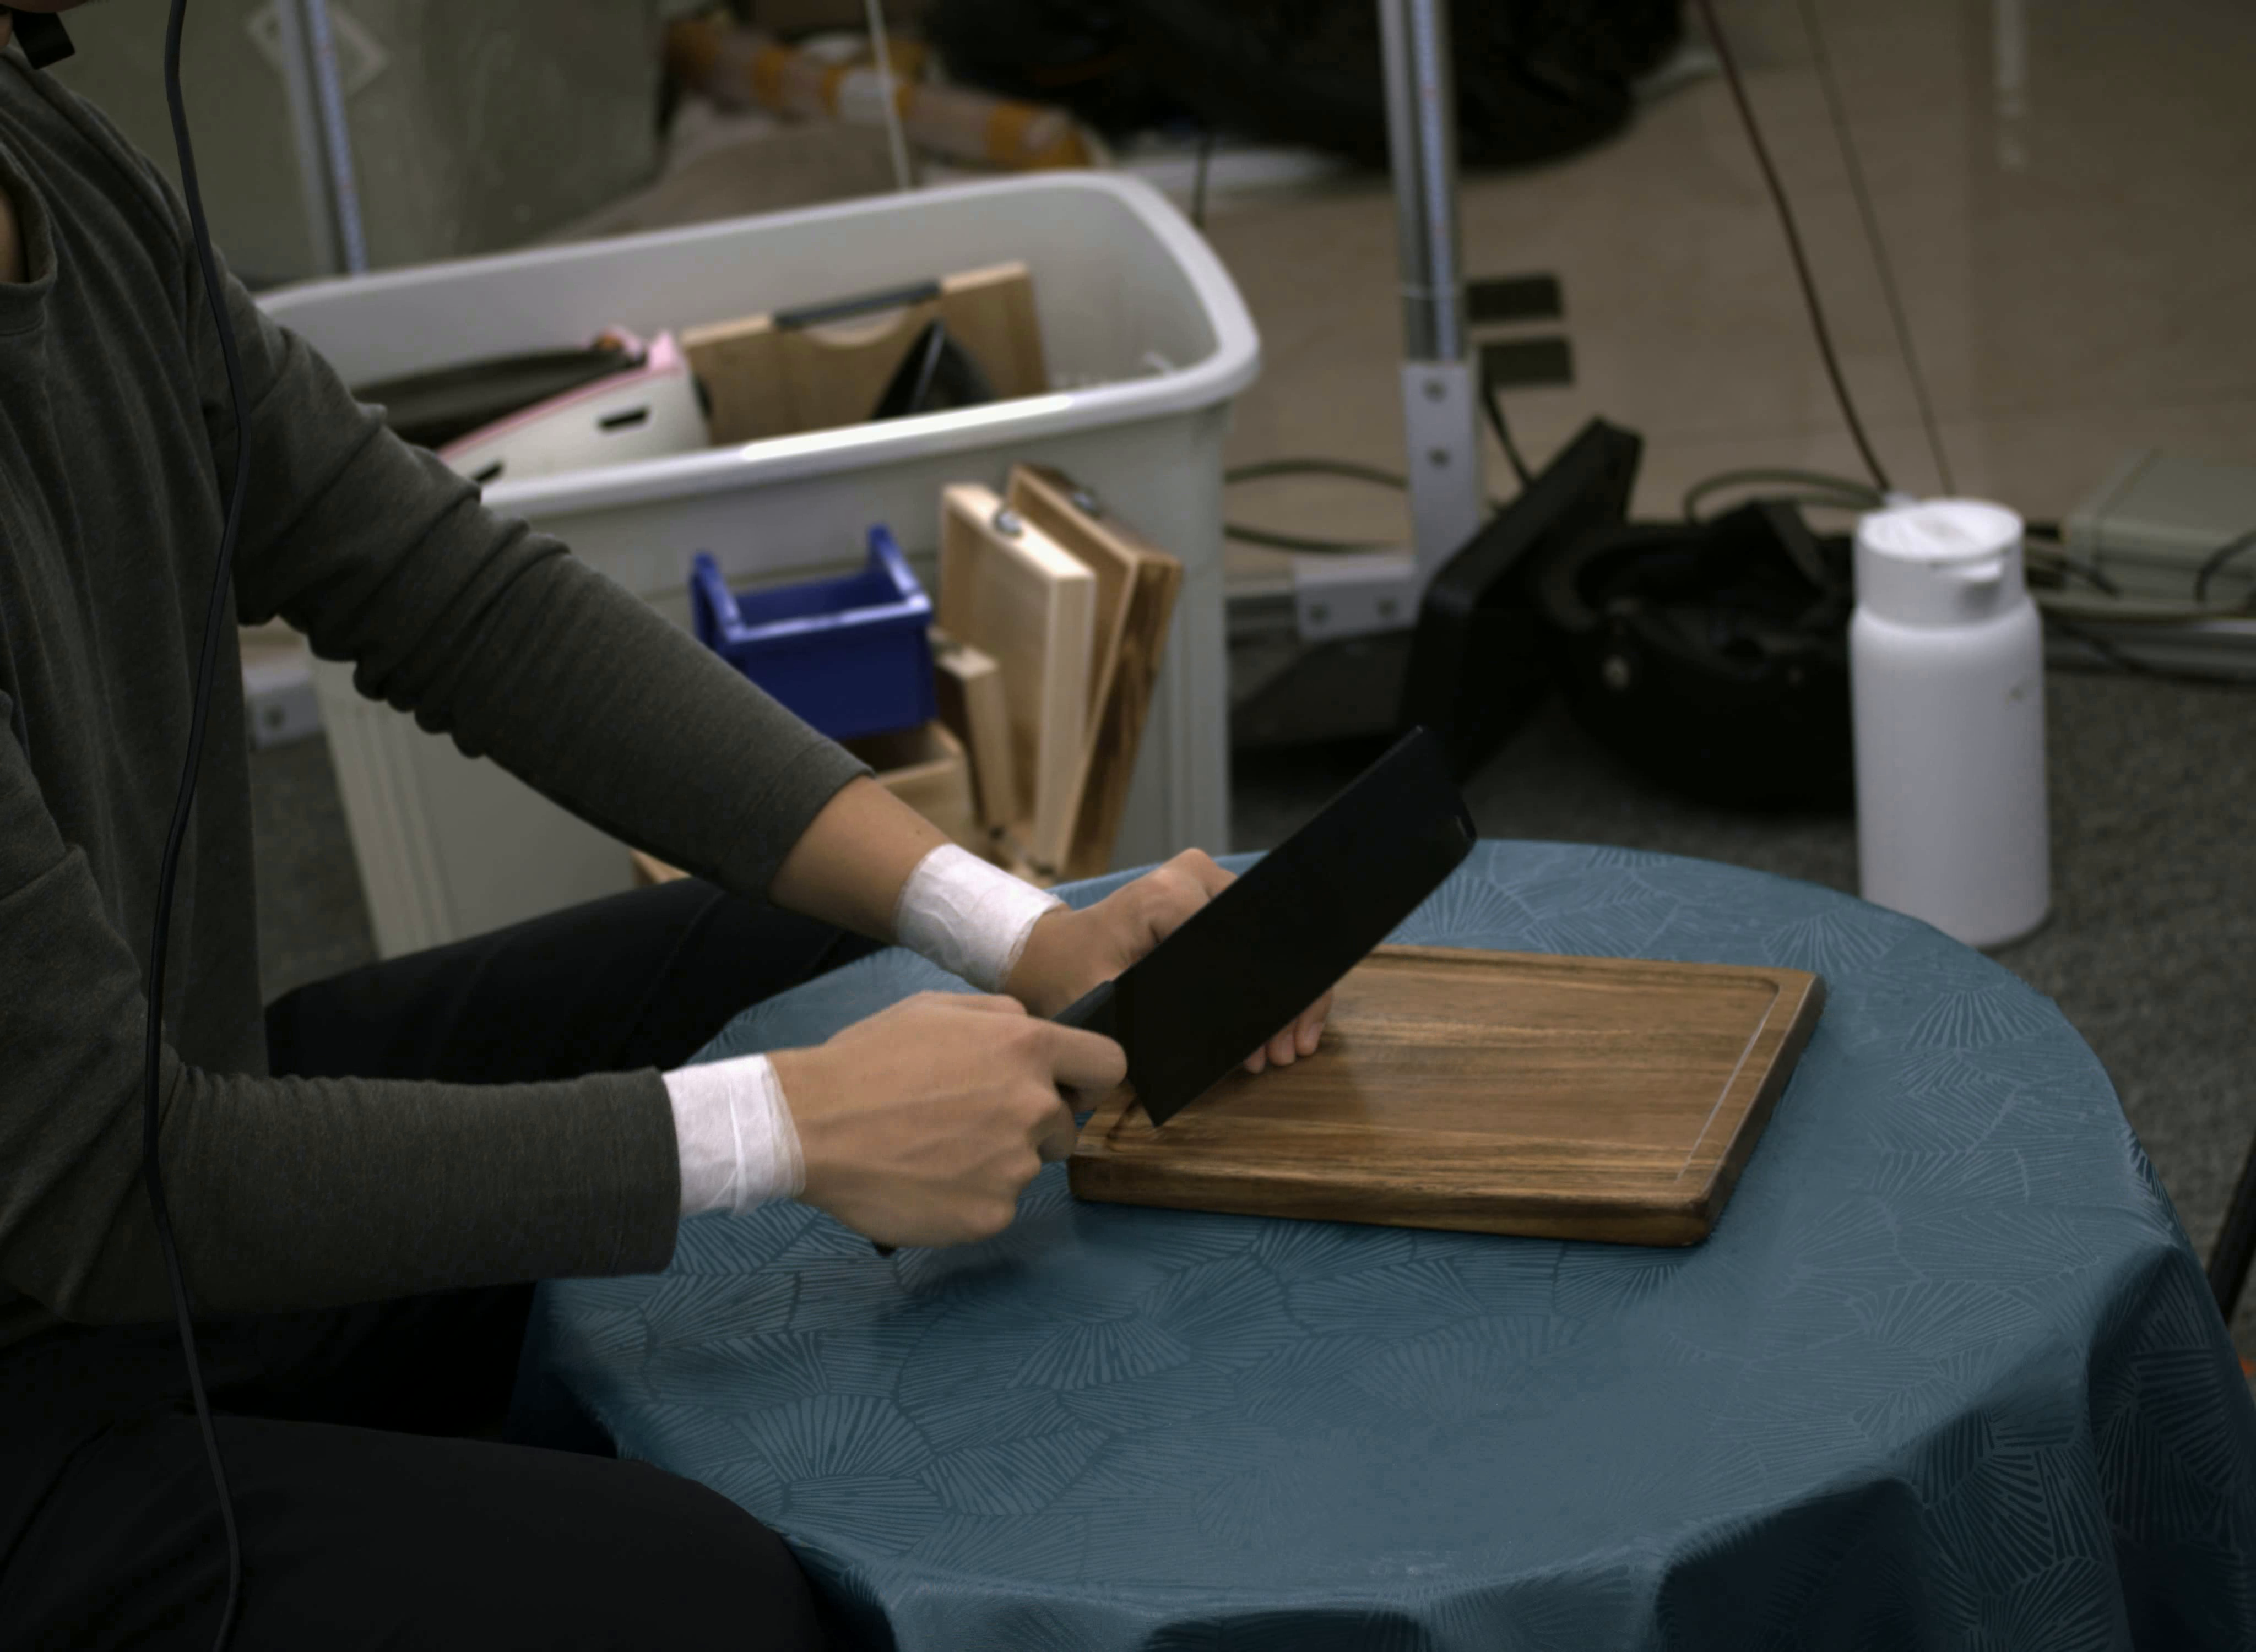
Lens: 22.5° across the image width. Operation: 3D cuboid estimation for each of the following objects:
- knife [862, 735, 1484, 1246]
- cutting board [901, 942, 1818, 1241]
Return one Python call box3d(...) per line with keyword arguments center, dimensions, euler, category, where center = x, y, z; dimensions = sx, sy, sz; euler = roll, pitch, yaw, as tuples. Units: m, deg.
box3d(center=(0.019, 0.069, 2.153), dimensions=(0.300, 0.082, 0.020), euler=(-33, 30, -24), category="knife")
box3d(center=(0.077, 0.096, 2.200), dimensions=(0.351, 0.023, 0.198), euler=(3, 26, 20), category="cutting board")
